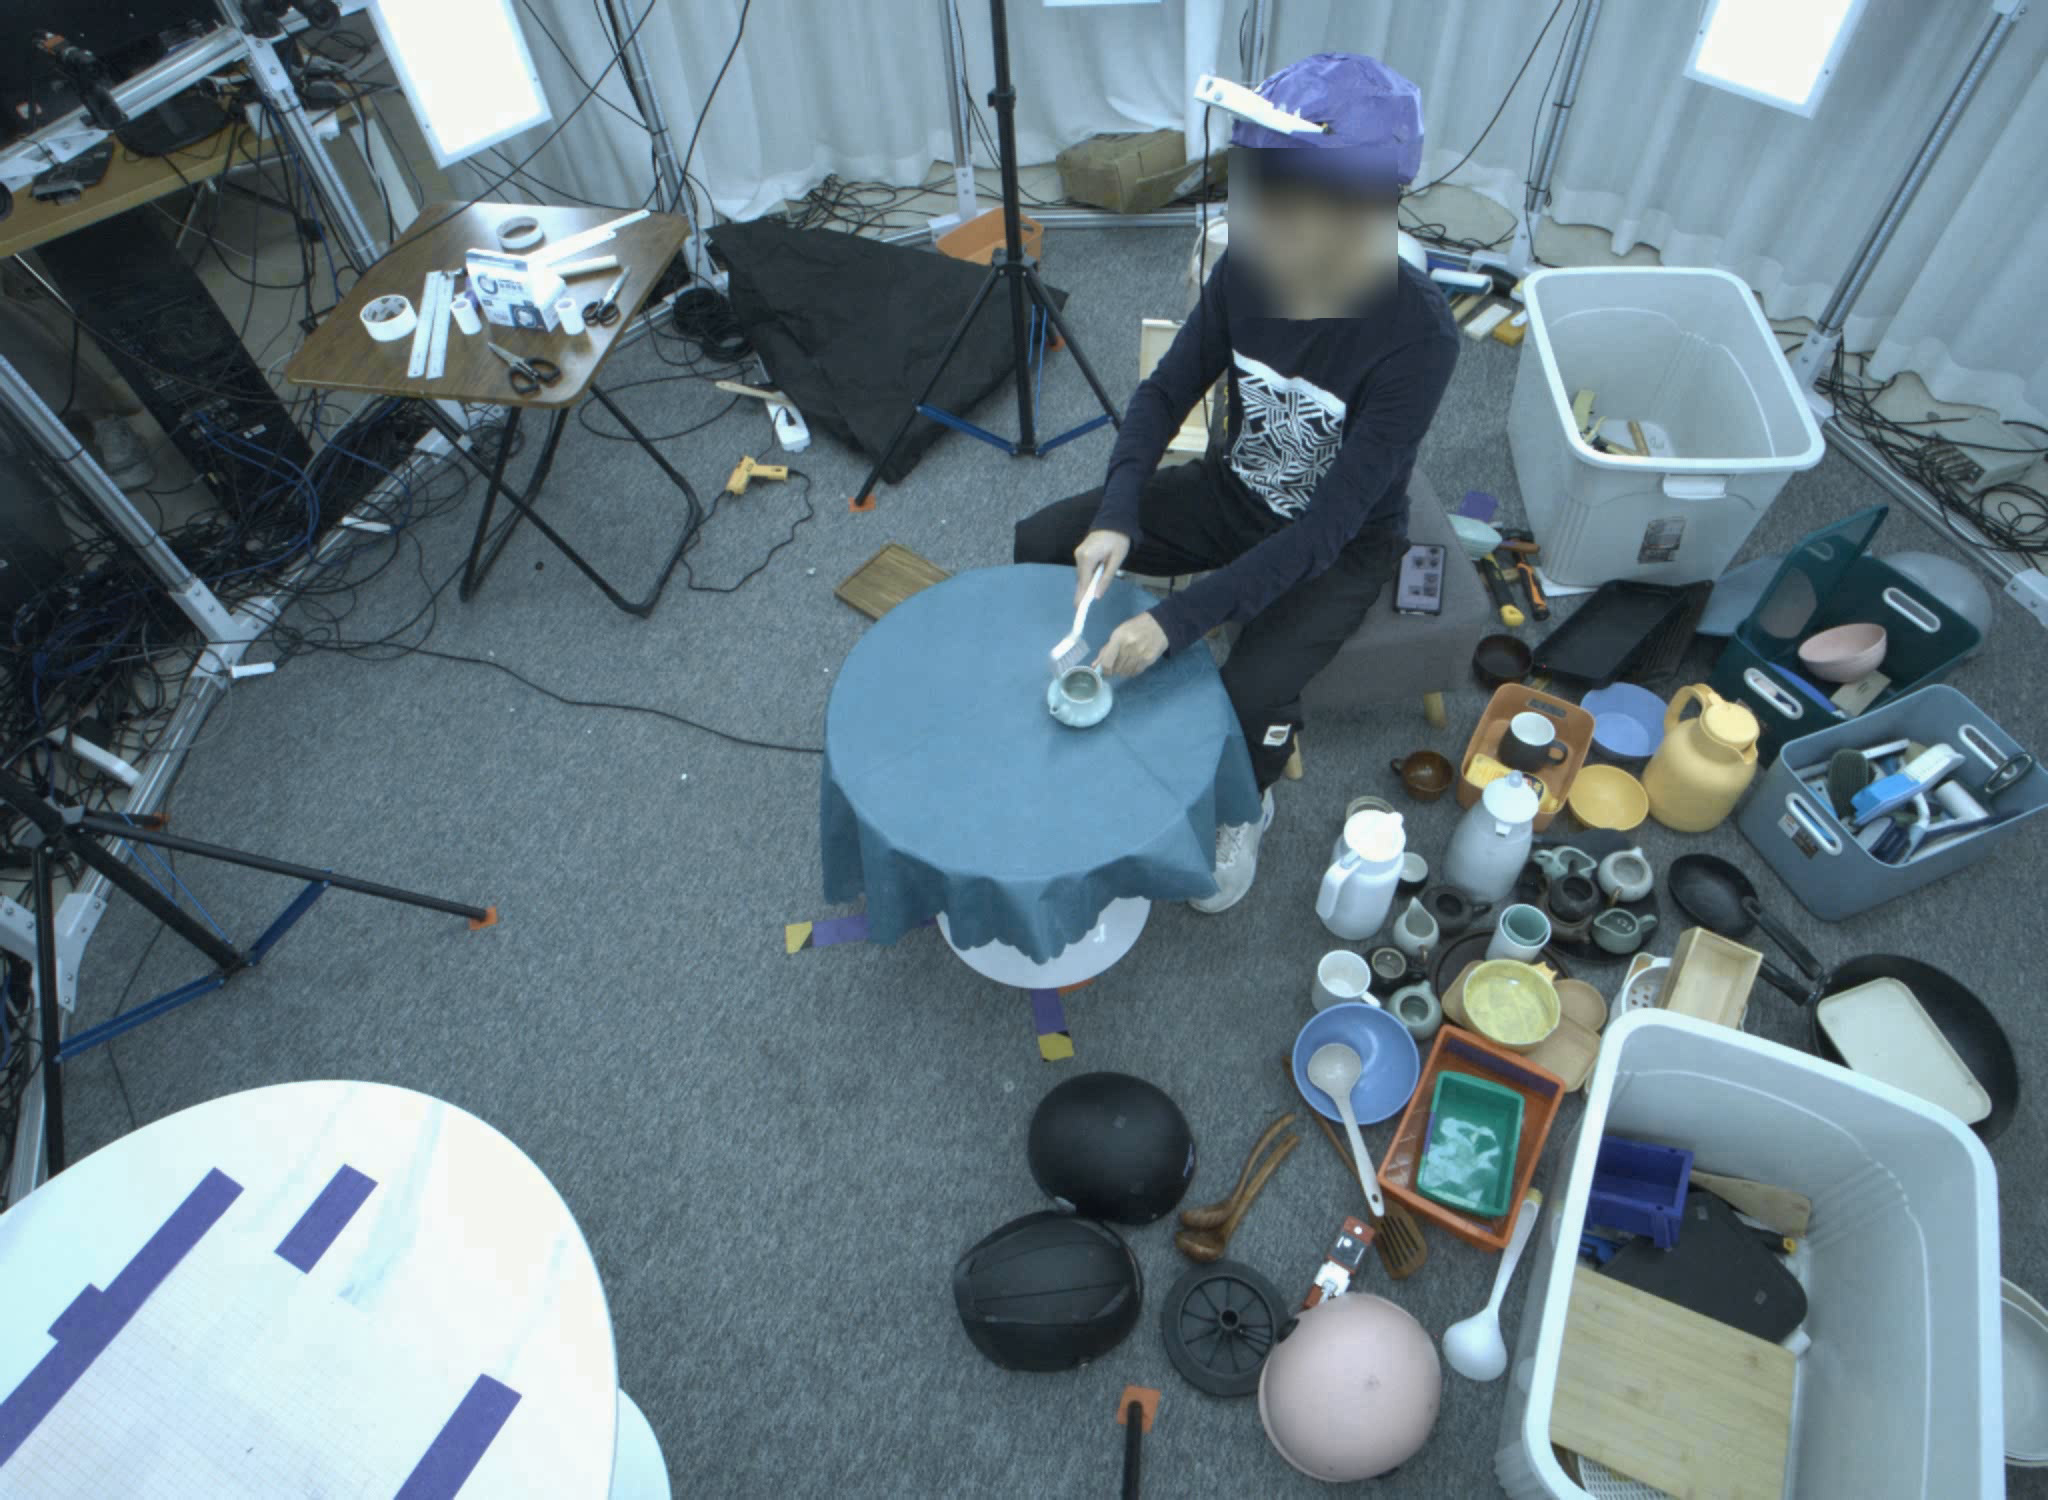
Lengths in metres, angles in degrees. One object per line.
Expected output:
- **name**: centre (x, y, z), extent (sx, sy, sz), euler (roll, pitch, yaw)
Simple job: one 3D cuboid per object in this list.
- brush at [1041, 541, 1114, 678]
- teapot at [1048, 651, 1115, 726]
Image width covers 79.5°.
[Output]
- **brush**: centre (0.095, -0.210, 1.834), extent (0.051, 0.034, 0.243), euler (34, 66, -13)
- **teapot**: centre (0.086, -0.087, 1.795), extent (0.095, 0.062, 0.137), euler (37, 71, 19)
